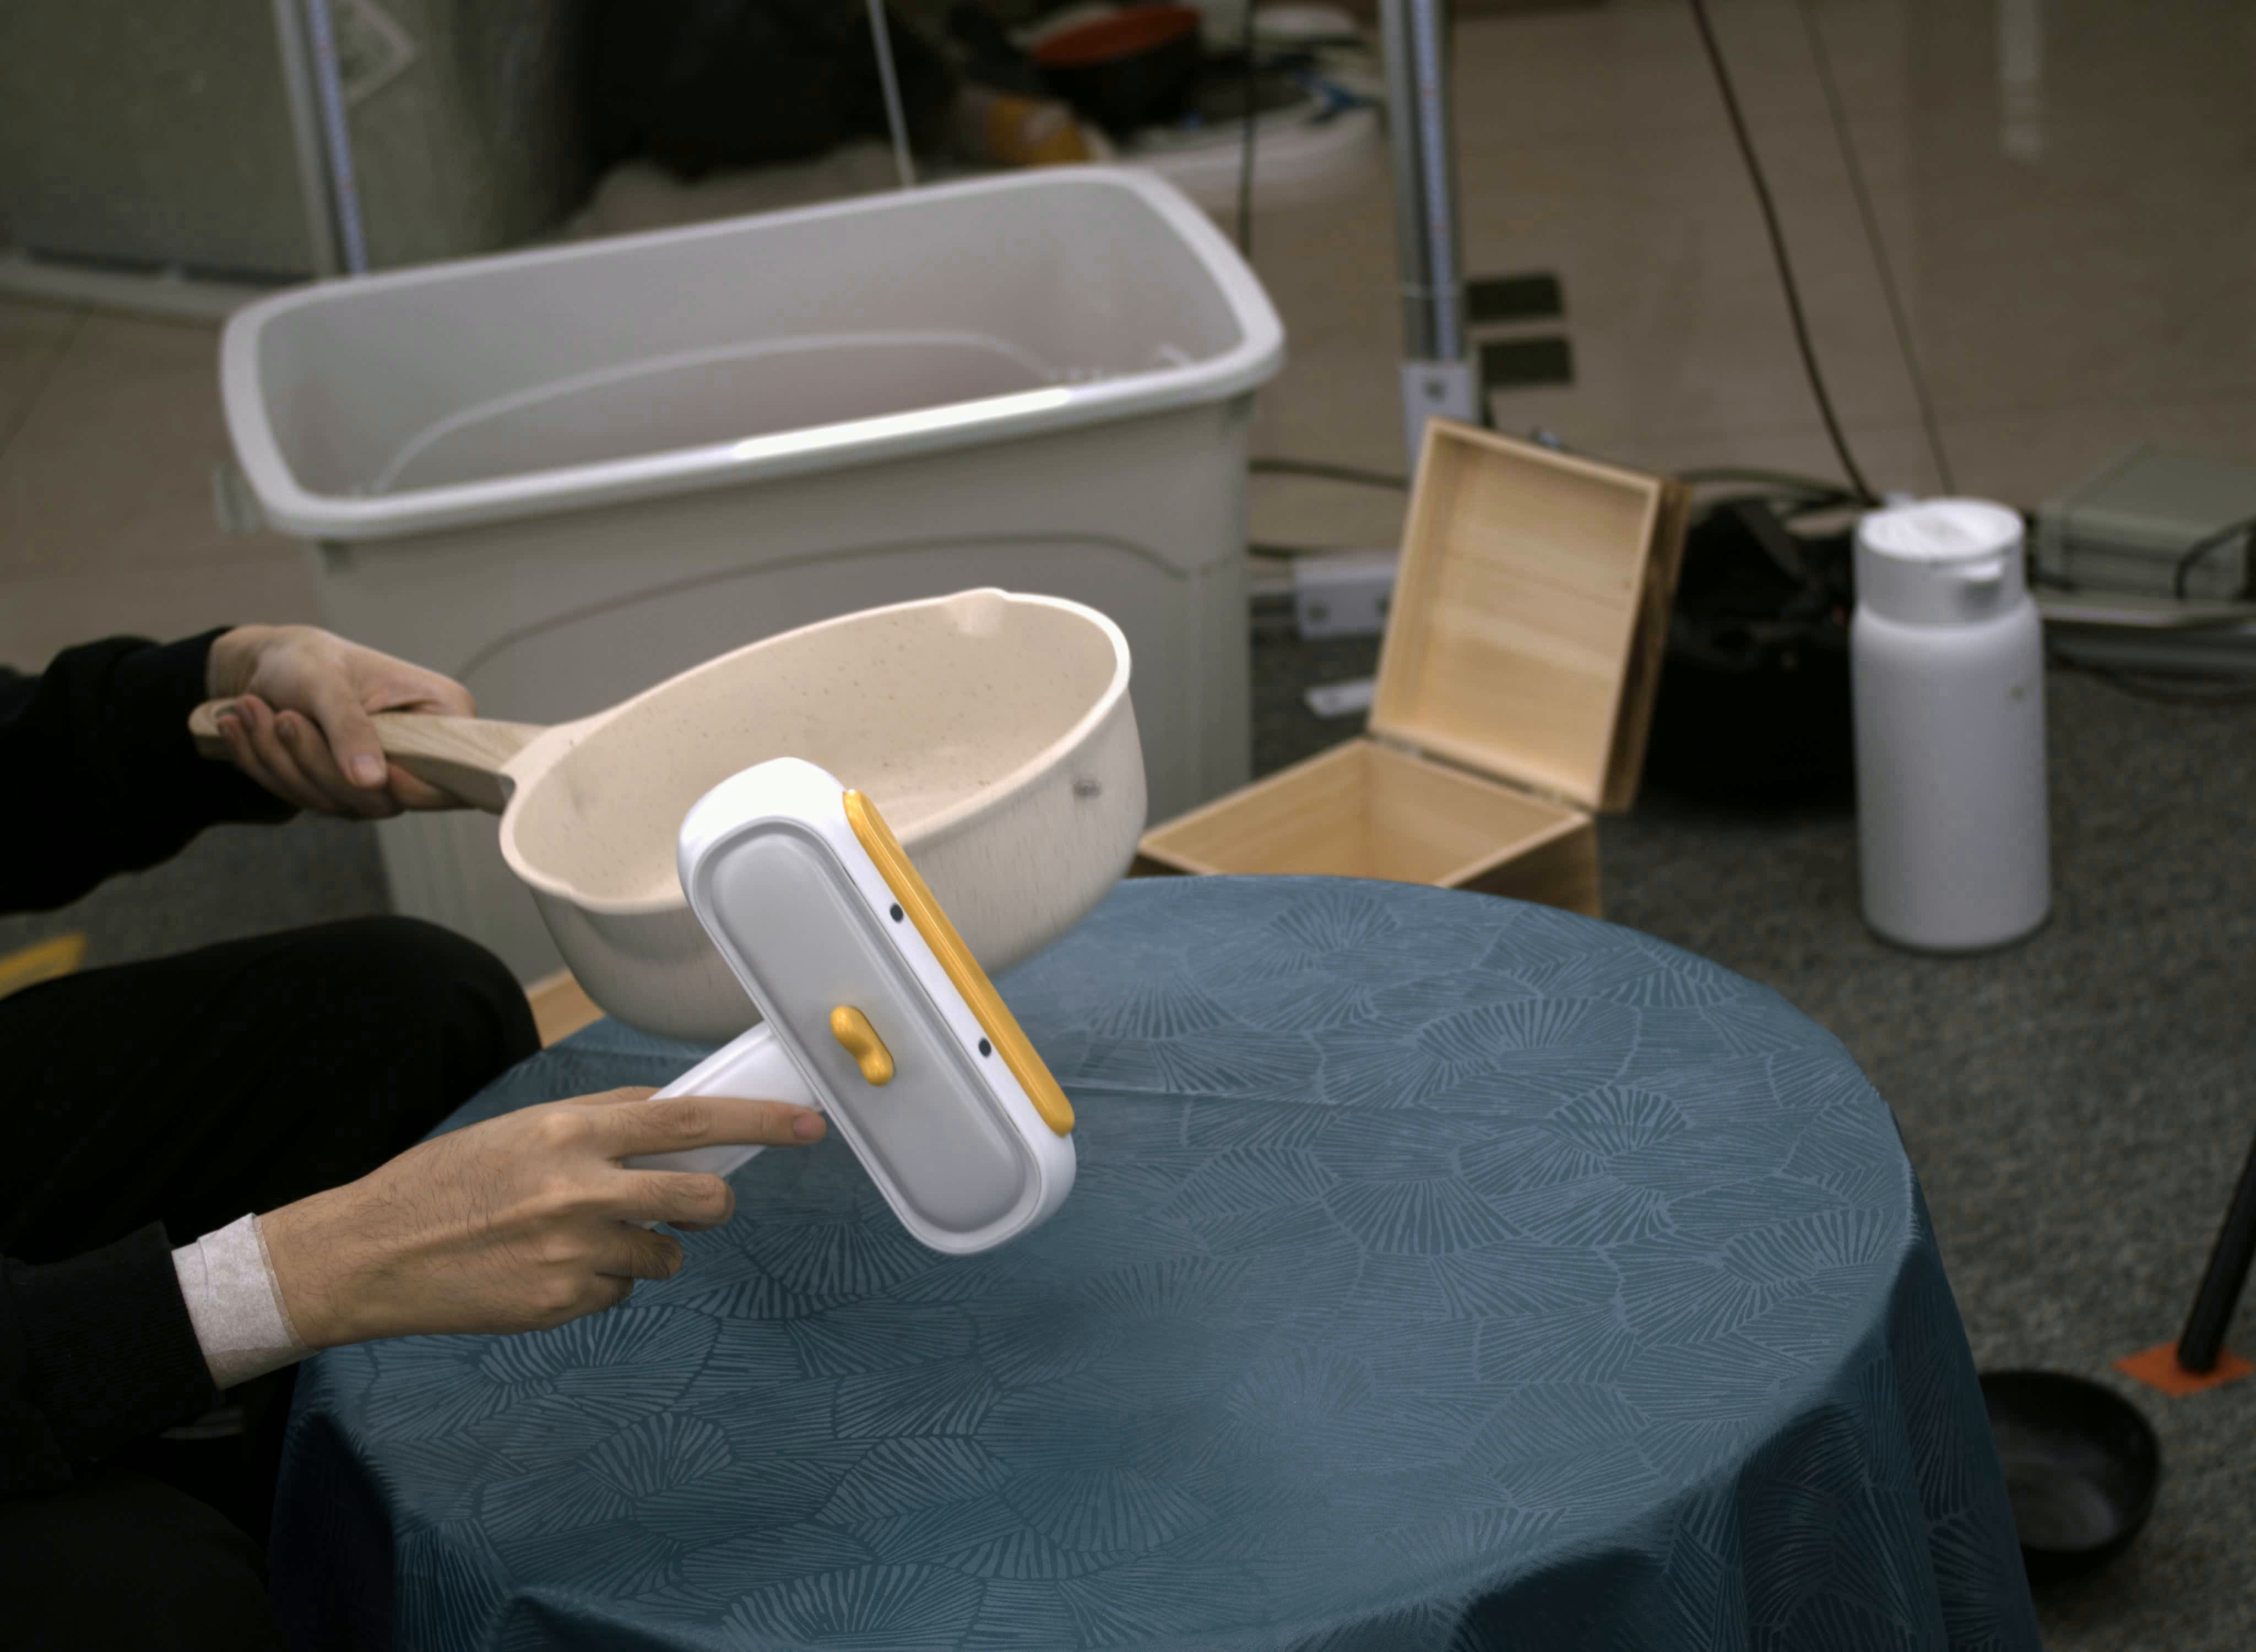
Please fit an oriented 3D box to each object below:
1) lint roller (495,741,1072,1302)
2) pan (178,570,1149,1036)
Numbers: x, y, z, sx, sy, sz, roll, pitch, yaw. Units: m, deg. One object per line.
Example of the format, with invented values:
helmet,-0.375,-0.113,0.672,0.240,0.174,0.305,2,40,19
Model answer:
lint roller,-0.139,0.094,1.969,0.193,0.195,0.073,-35,19,7
pan,-0.187,-0.007,2.216,0.434,0.103,0.260,-2,29,33
